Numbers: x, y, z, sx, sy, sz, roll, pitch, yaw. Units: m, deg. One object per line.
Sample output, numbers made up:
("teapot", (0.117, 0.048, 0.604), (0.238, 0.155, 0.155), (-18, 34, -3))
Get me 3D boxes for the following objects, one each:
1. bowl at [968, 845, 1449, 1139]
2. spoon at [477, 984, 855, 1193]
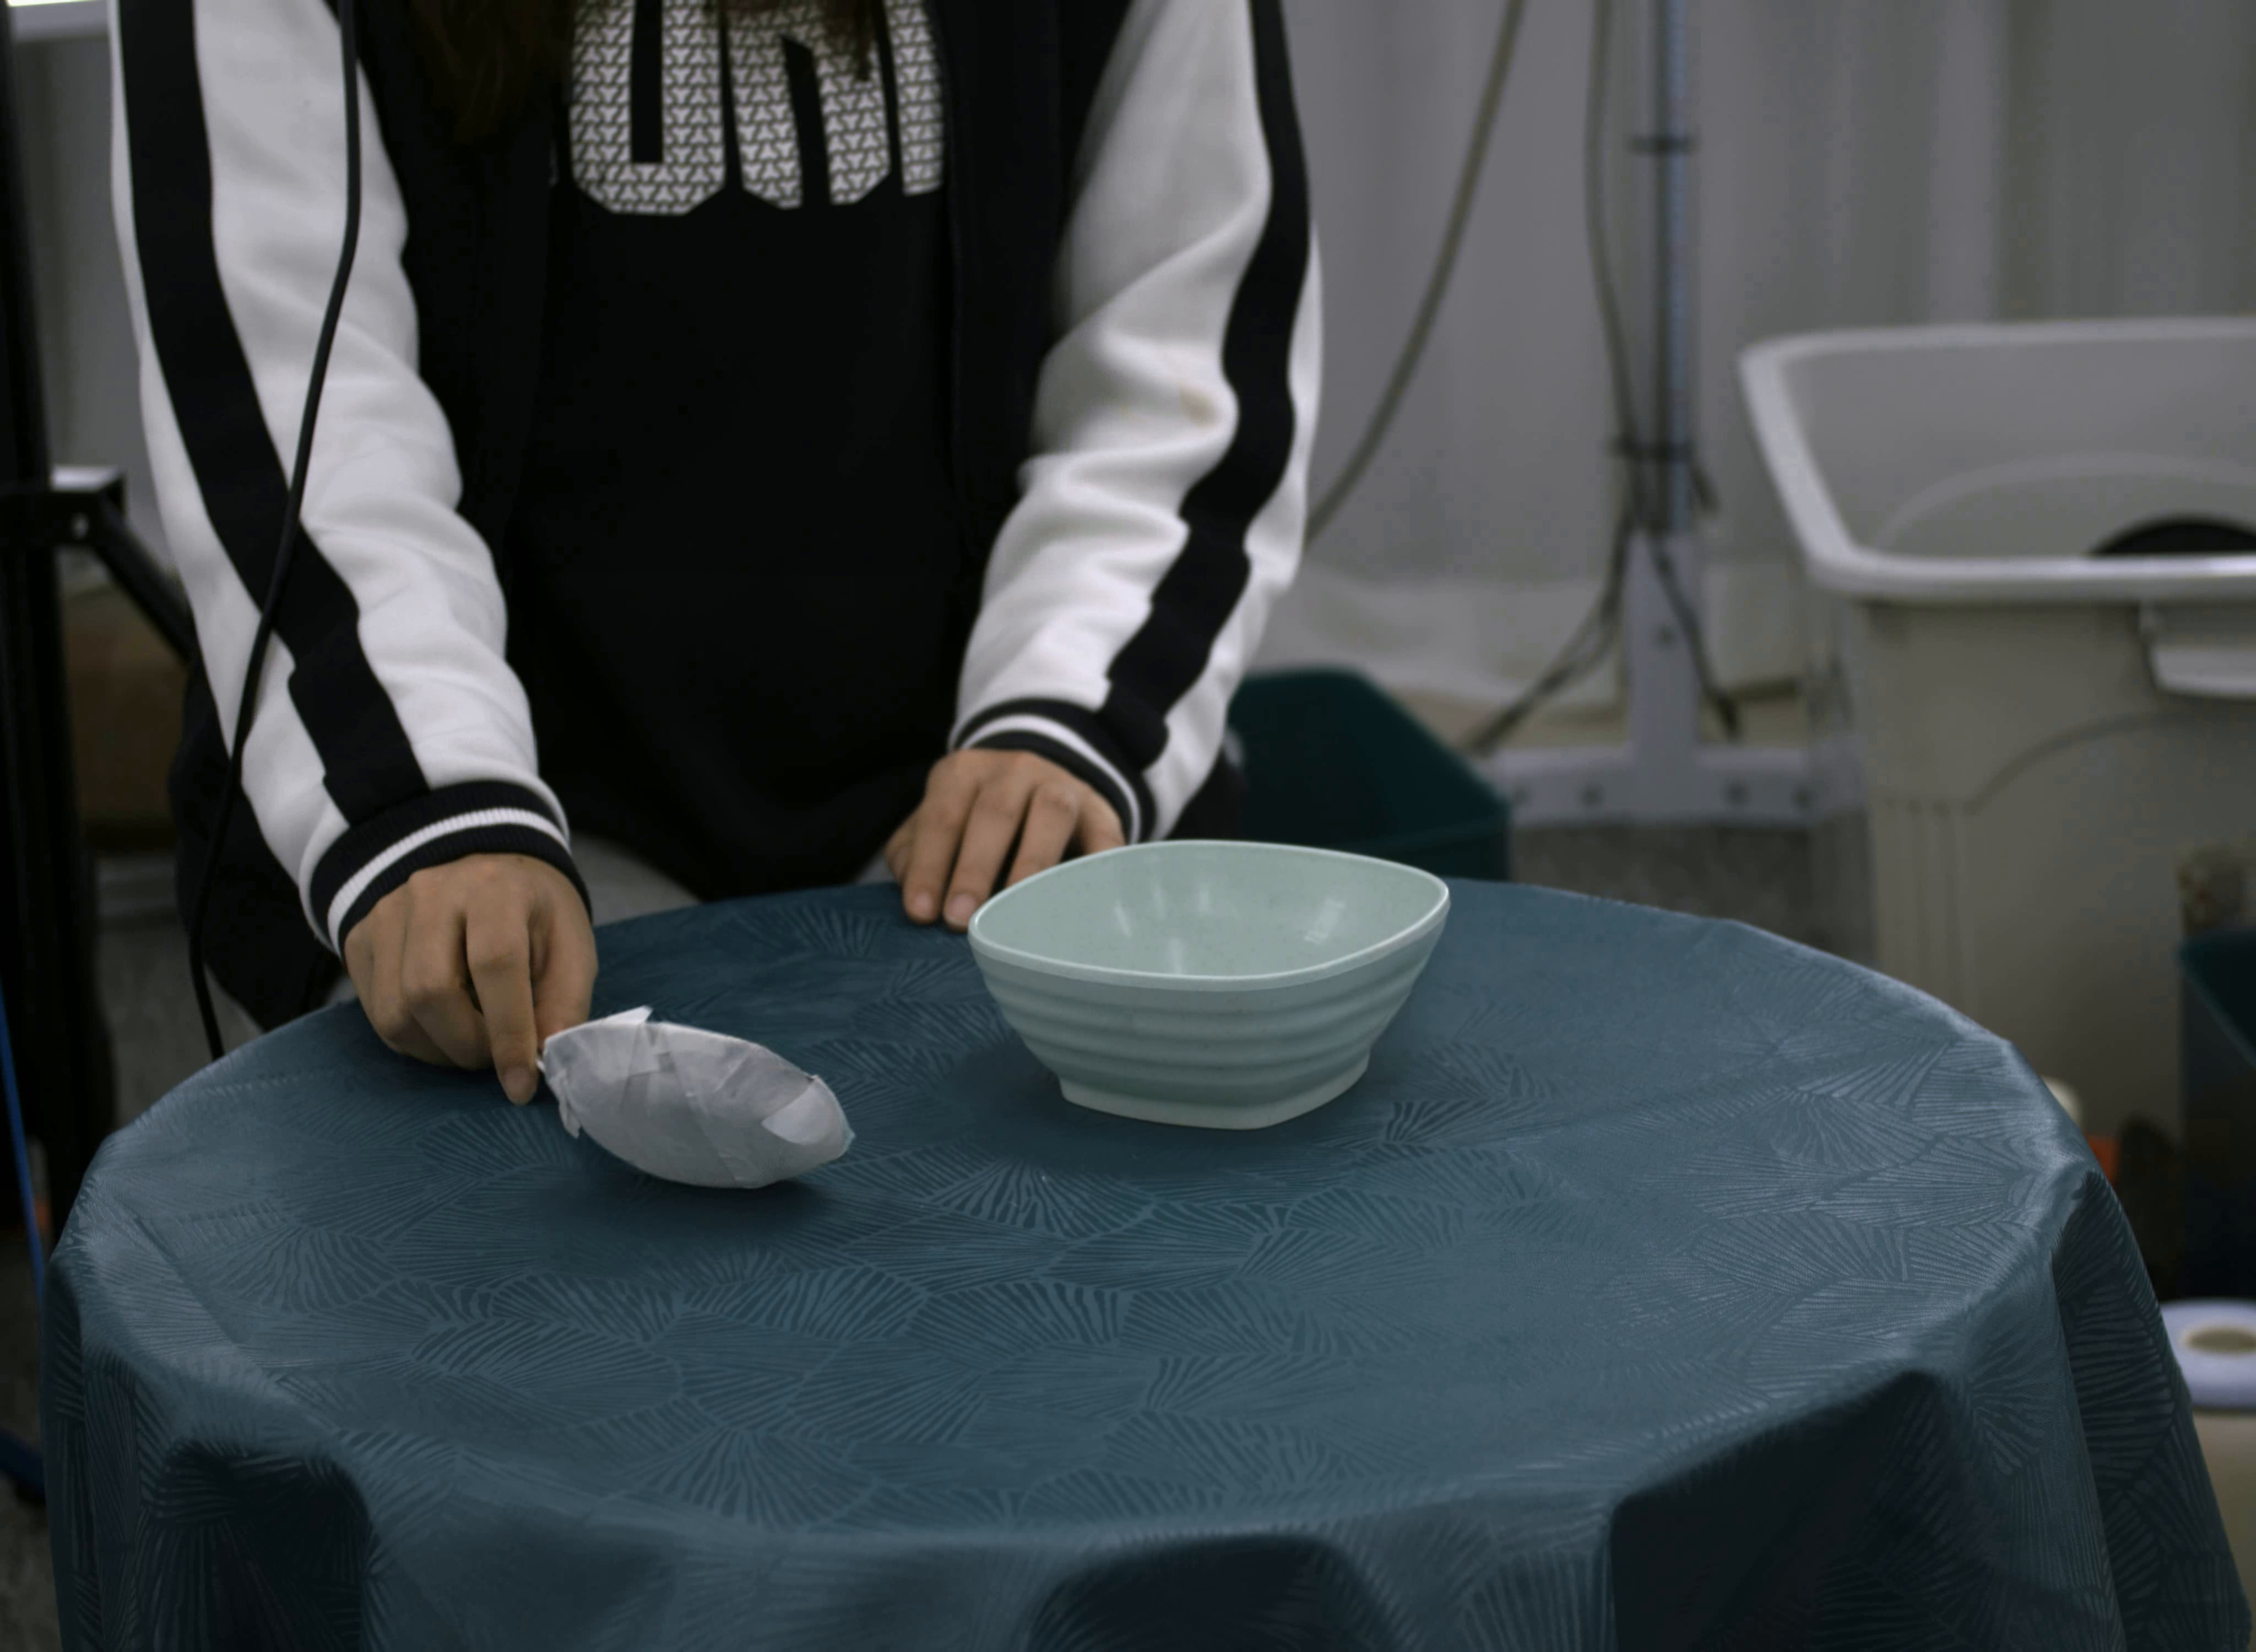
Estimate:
("bowl", (0.026, 0.054, 1.646), (0.150, 0.058, 0.152), (-3, 16, -1))
("spoon", (-0.151, 0.063, 1.650), (0.099, 0.059, 0.281), (35, -1, -20))
